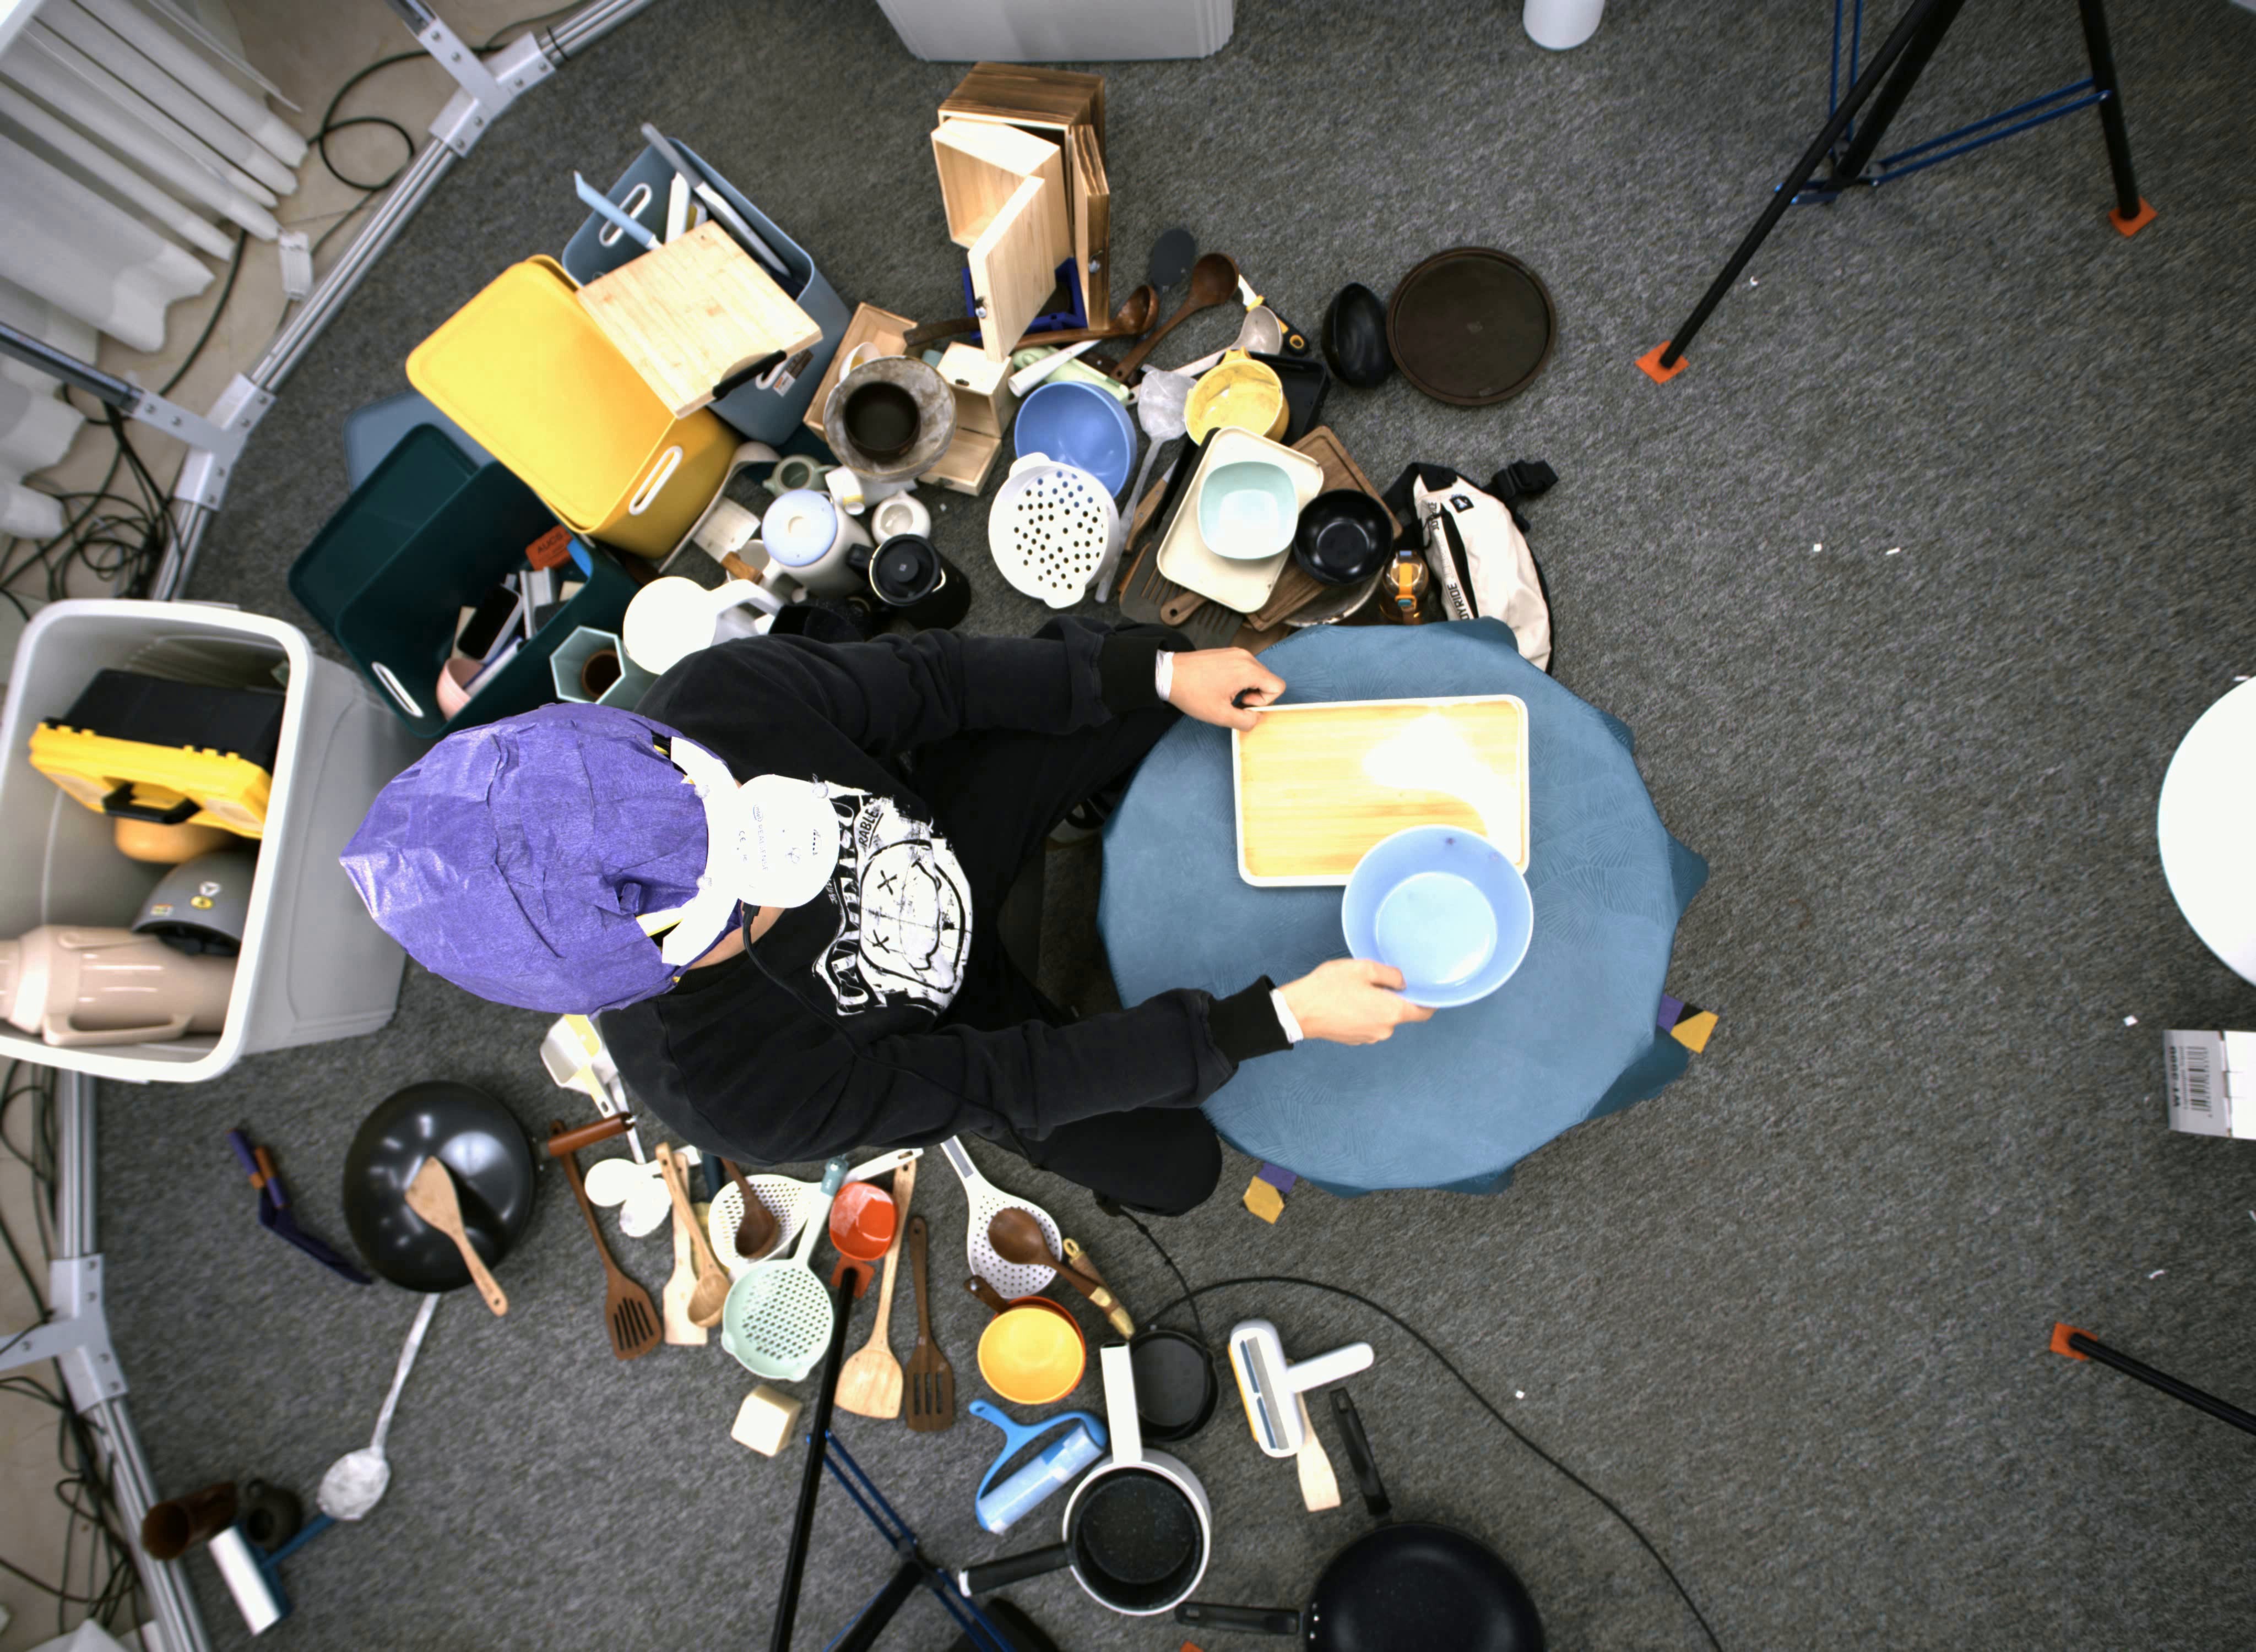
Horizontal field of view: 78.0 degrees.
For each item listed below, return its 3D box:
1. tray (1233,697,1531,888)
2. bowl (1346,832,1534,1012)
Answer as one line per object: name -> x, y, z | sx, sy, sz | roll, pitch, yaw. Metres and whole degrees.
tray -> 0.264, -0.035, 1.434 | 0.301, 0.027, 0.193 | -2, 102, 10
bowl -> 0.298, 0.097, 1.328 | 0.177, 0.071, 0.173 | -3, 73, 9
